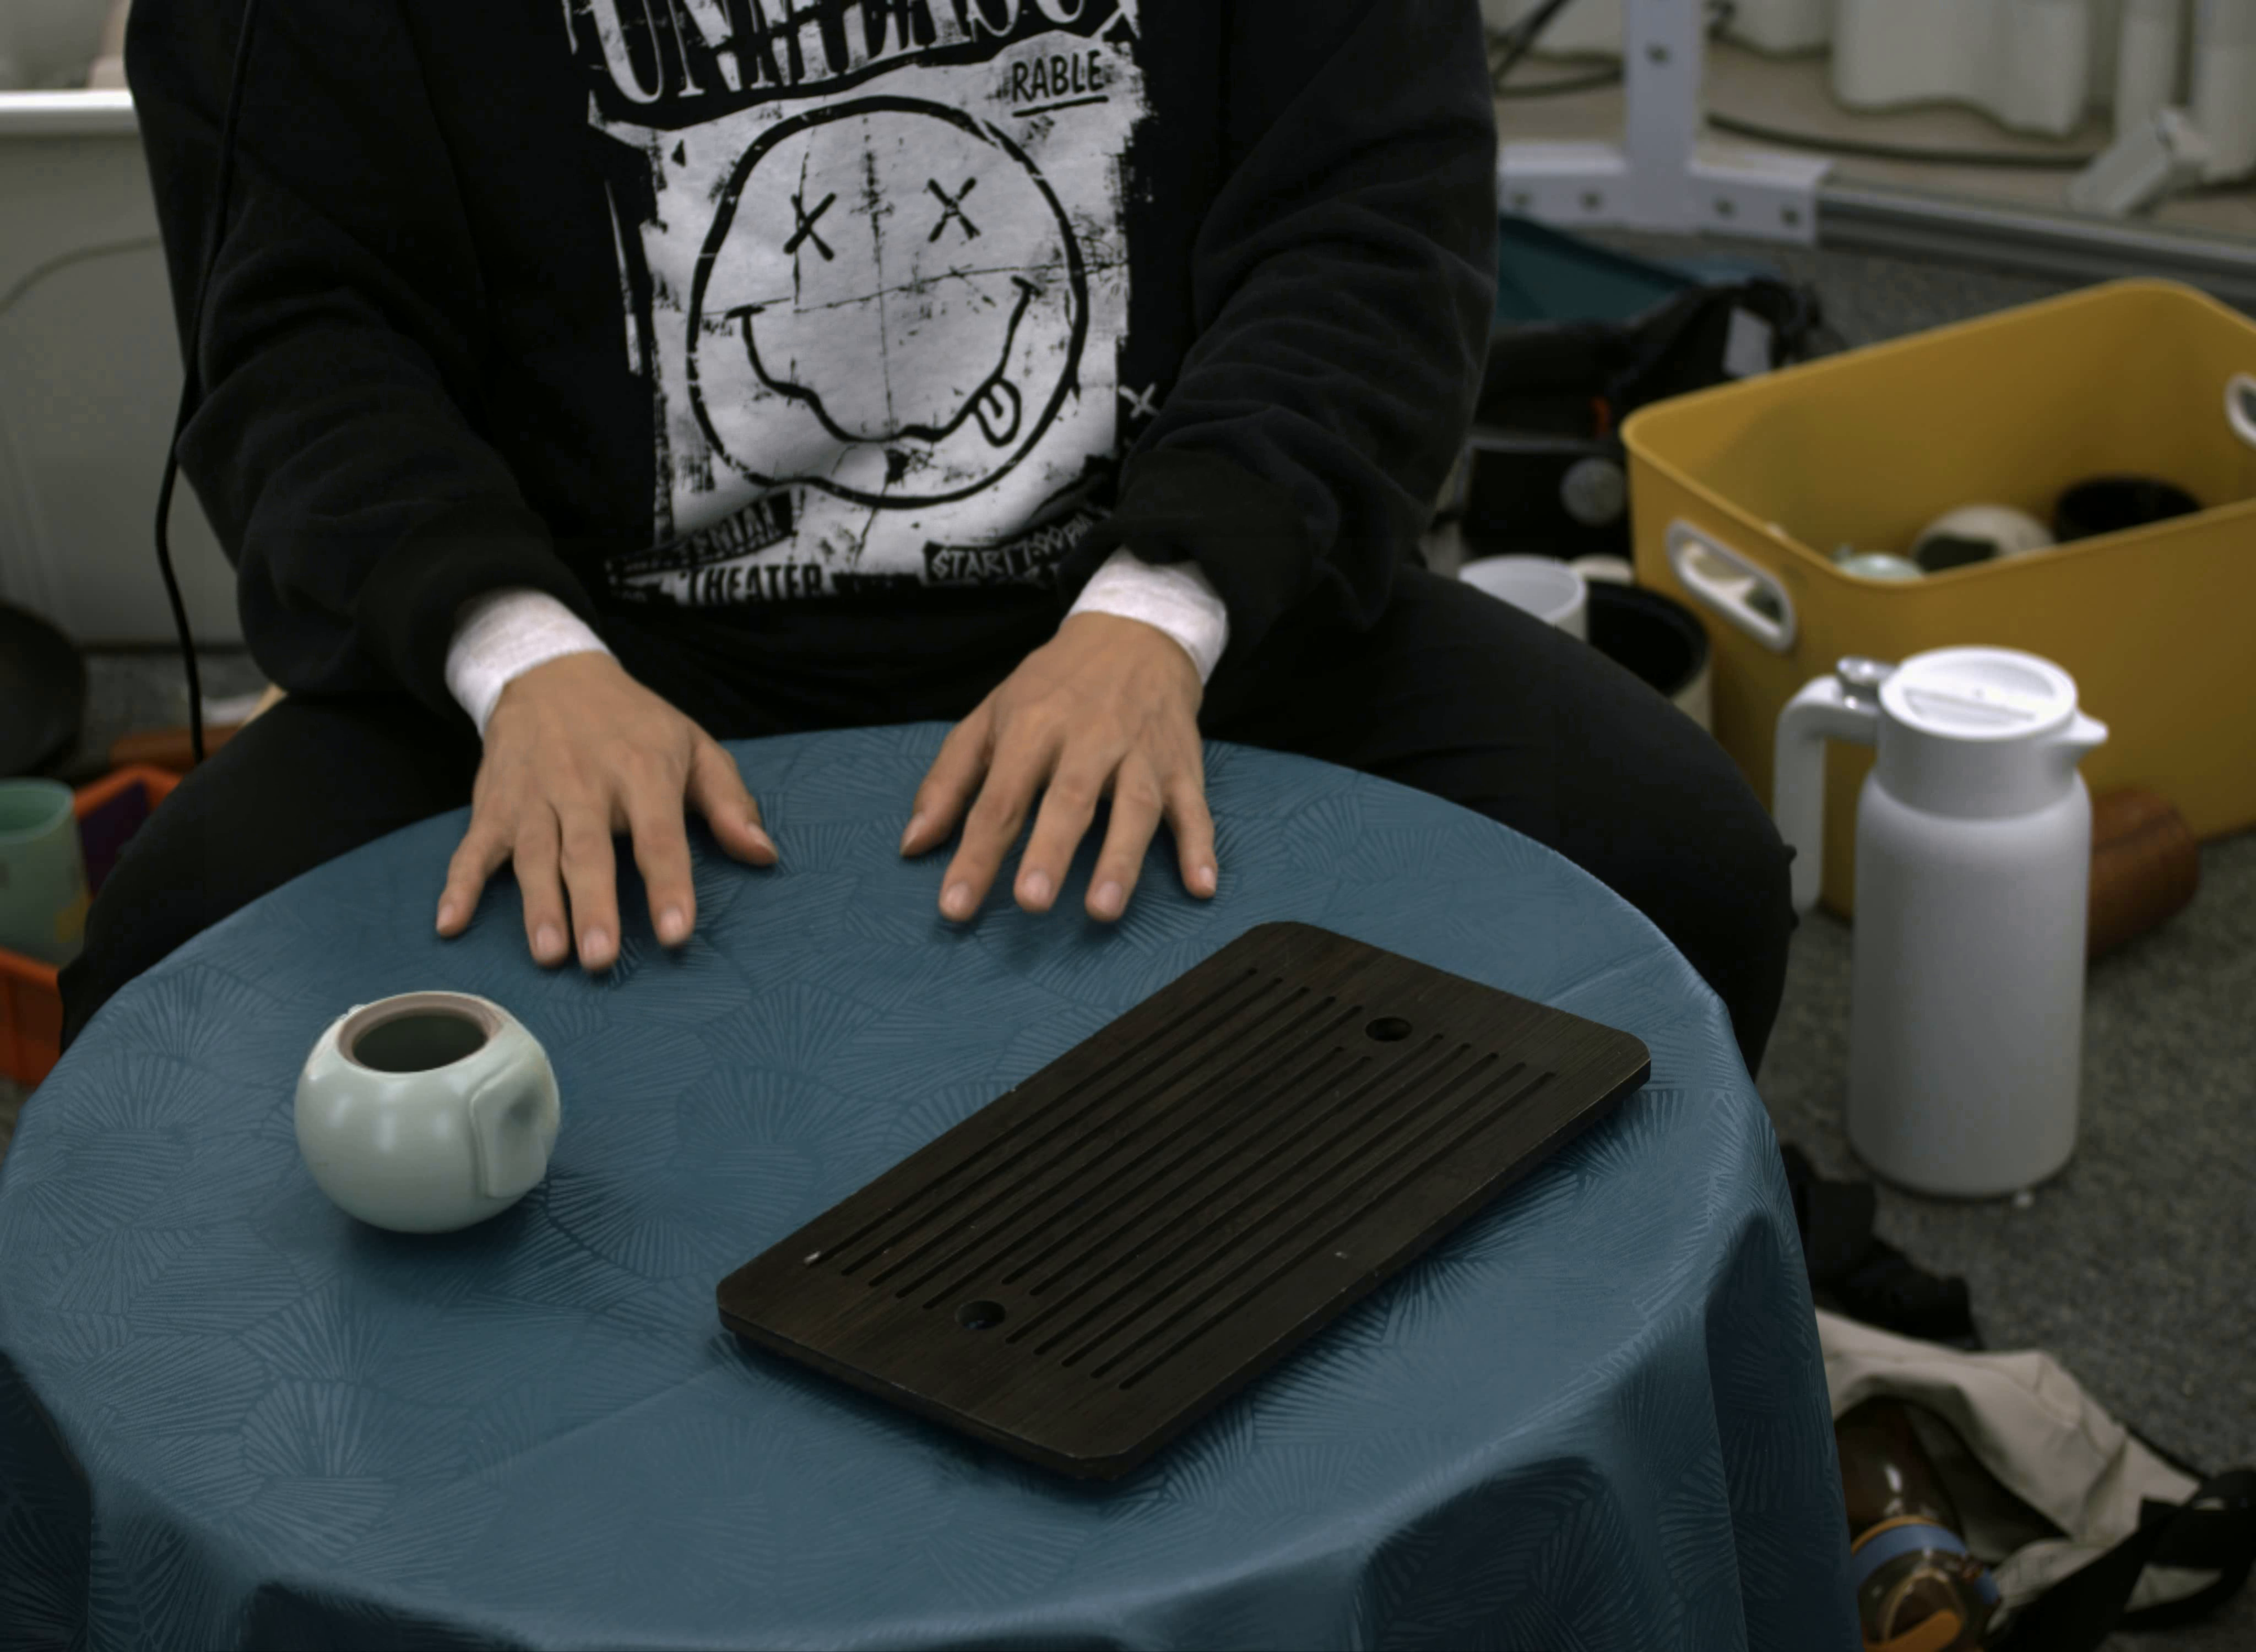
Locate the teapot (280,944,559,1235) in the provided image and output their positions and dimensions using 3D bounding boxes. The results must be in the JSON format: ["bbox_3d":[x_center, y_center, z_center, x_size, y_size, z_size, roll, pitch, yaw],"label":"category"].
[{"bbox_3d":[-0.232,0.094,1.857,0.089,0.074,0.144,-24,35,-36],"label":"teapot"}]

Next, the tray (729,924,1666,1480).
[{"bbox_3d":[0.027,0.120,1.840,0.169,0.018,0.310,18,33,35],"label":"tray"}]
